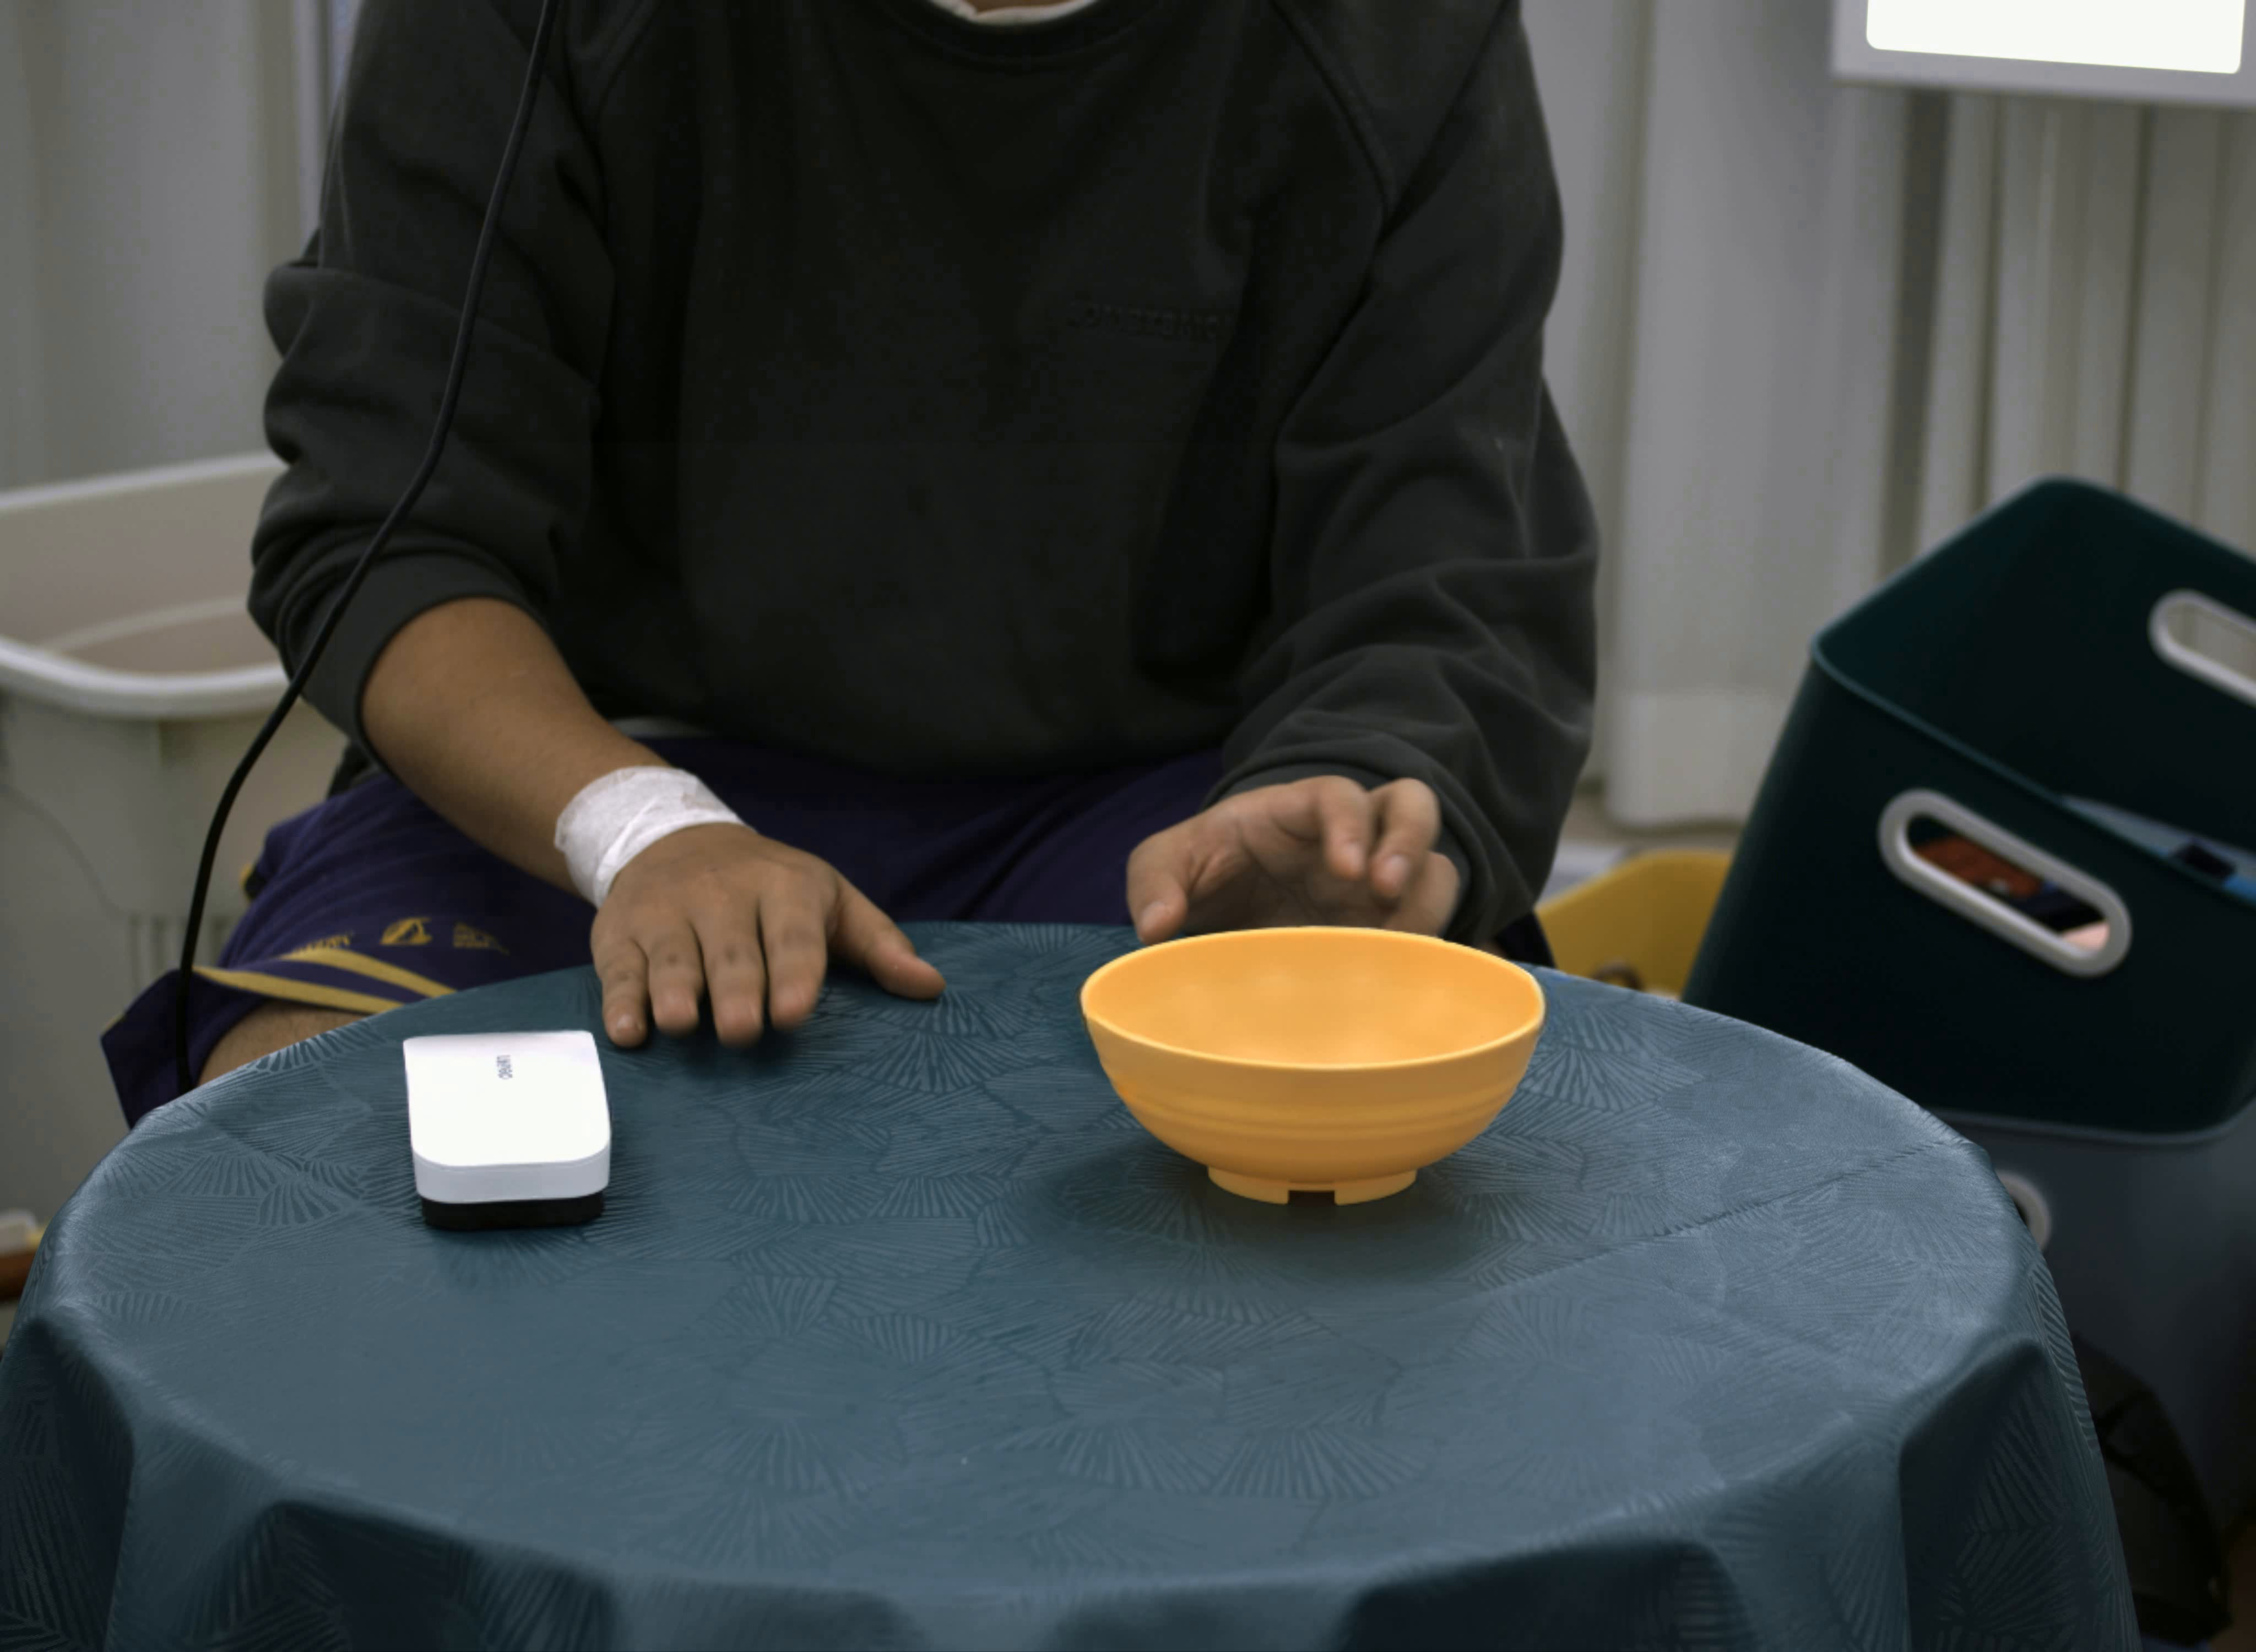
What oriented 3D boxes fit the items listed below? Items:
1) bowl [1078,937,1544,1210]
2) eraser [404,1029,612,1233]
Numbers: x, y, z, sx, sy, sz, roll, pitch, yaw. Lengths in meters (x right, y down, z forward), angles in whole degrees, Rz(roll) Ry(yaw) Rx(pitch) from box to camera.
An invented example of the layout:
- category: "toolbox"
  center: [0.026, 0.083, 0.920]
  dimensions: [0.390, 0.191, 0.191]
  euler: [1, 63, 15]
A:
- category: "bowl"
  center: [0.056, 0.081, 1.634]
  dimensions: [0.145, 0.060, 0.144]
  euler: [2, 14, 0]
- category: "eraser"
  center: [-0.193, 0.090, 1.637]
  dimensions: [0.063, 0.035, 0.130]
  euler: [-2, 17, -8]
